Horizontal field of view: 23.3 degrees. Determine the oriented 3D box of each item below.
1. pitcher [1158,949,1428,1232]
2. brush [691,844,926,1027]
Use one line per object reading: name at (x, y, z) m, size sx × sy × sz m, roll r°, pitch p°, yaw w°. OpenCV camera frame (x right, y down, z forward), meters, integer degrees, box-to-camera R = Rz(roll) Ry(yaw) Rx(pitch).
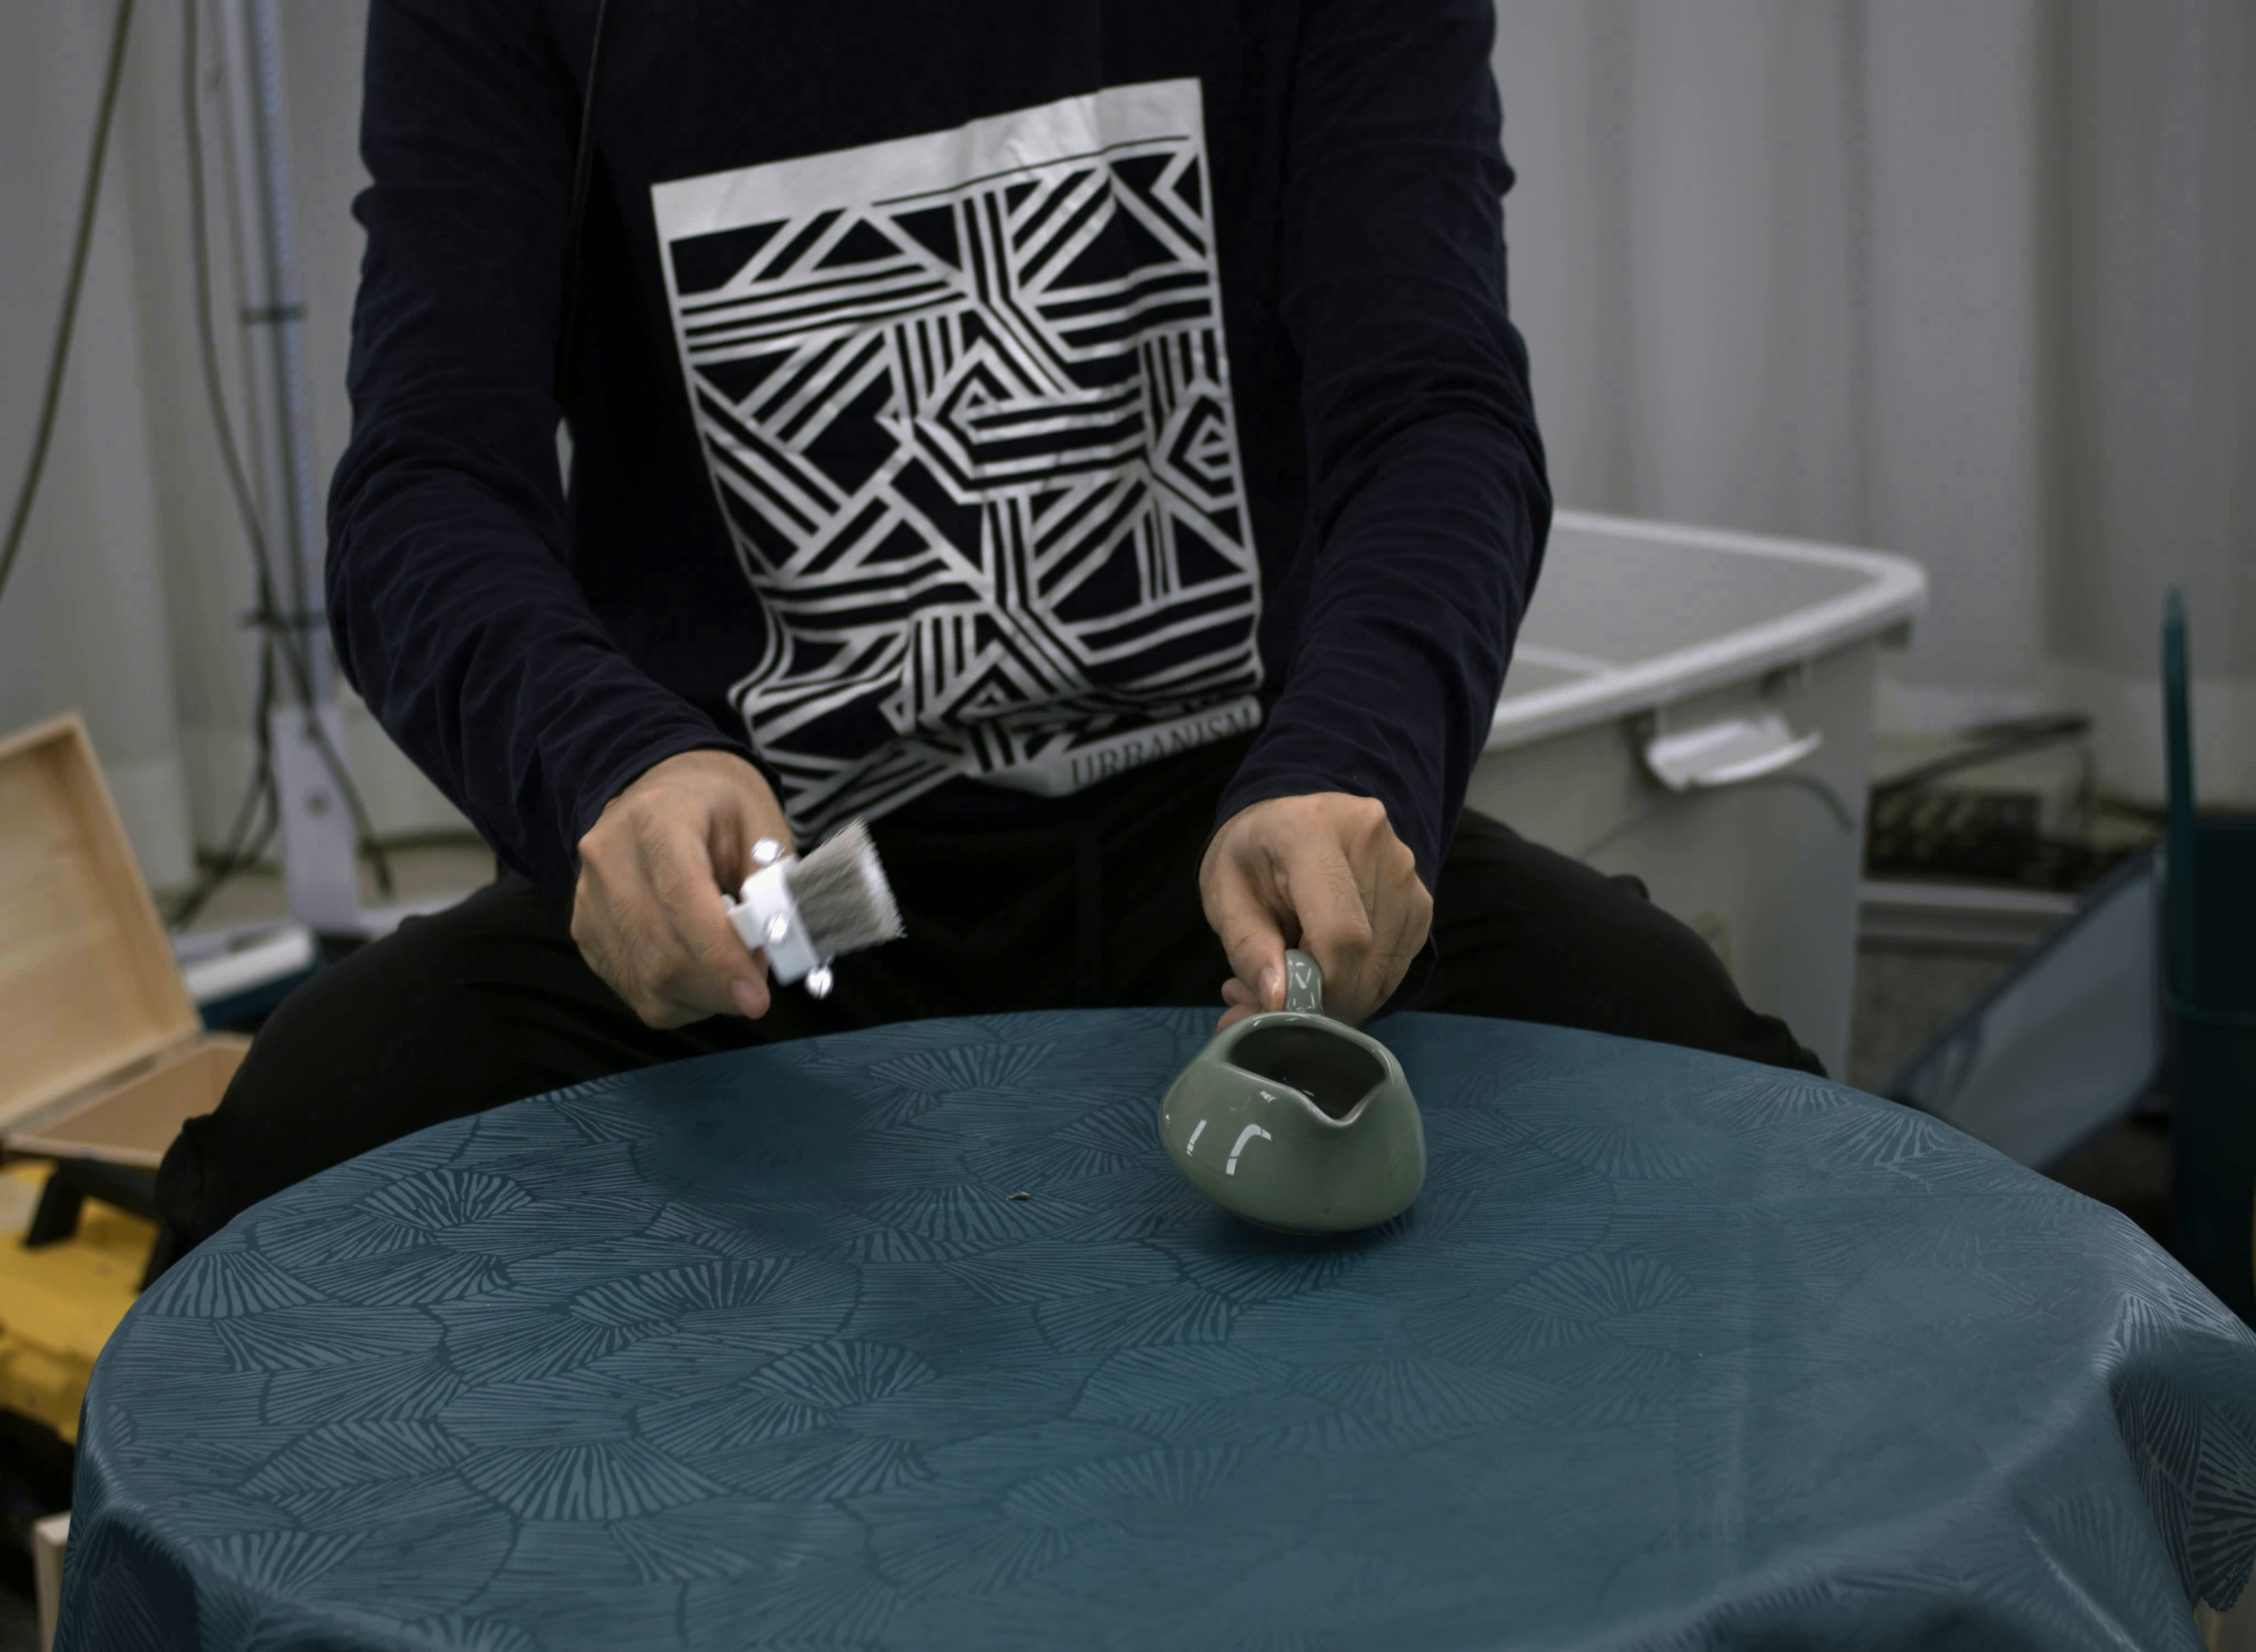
pitcher at (0.051, 0.084, 1.678) m, size 0.084 × 0.056 × 0.114 m, roll 5°, pitch 25°, yaw -12°
brush at (-0.100, 0.037, 1.716) m, size 0.050 × 0.034 × 0.243 m, roll -25°, pitch 0°, yaw -13°
